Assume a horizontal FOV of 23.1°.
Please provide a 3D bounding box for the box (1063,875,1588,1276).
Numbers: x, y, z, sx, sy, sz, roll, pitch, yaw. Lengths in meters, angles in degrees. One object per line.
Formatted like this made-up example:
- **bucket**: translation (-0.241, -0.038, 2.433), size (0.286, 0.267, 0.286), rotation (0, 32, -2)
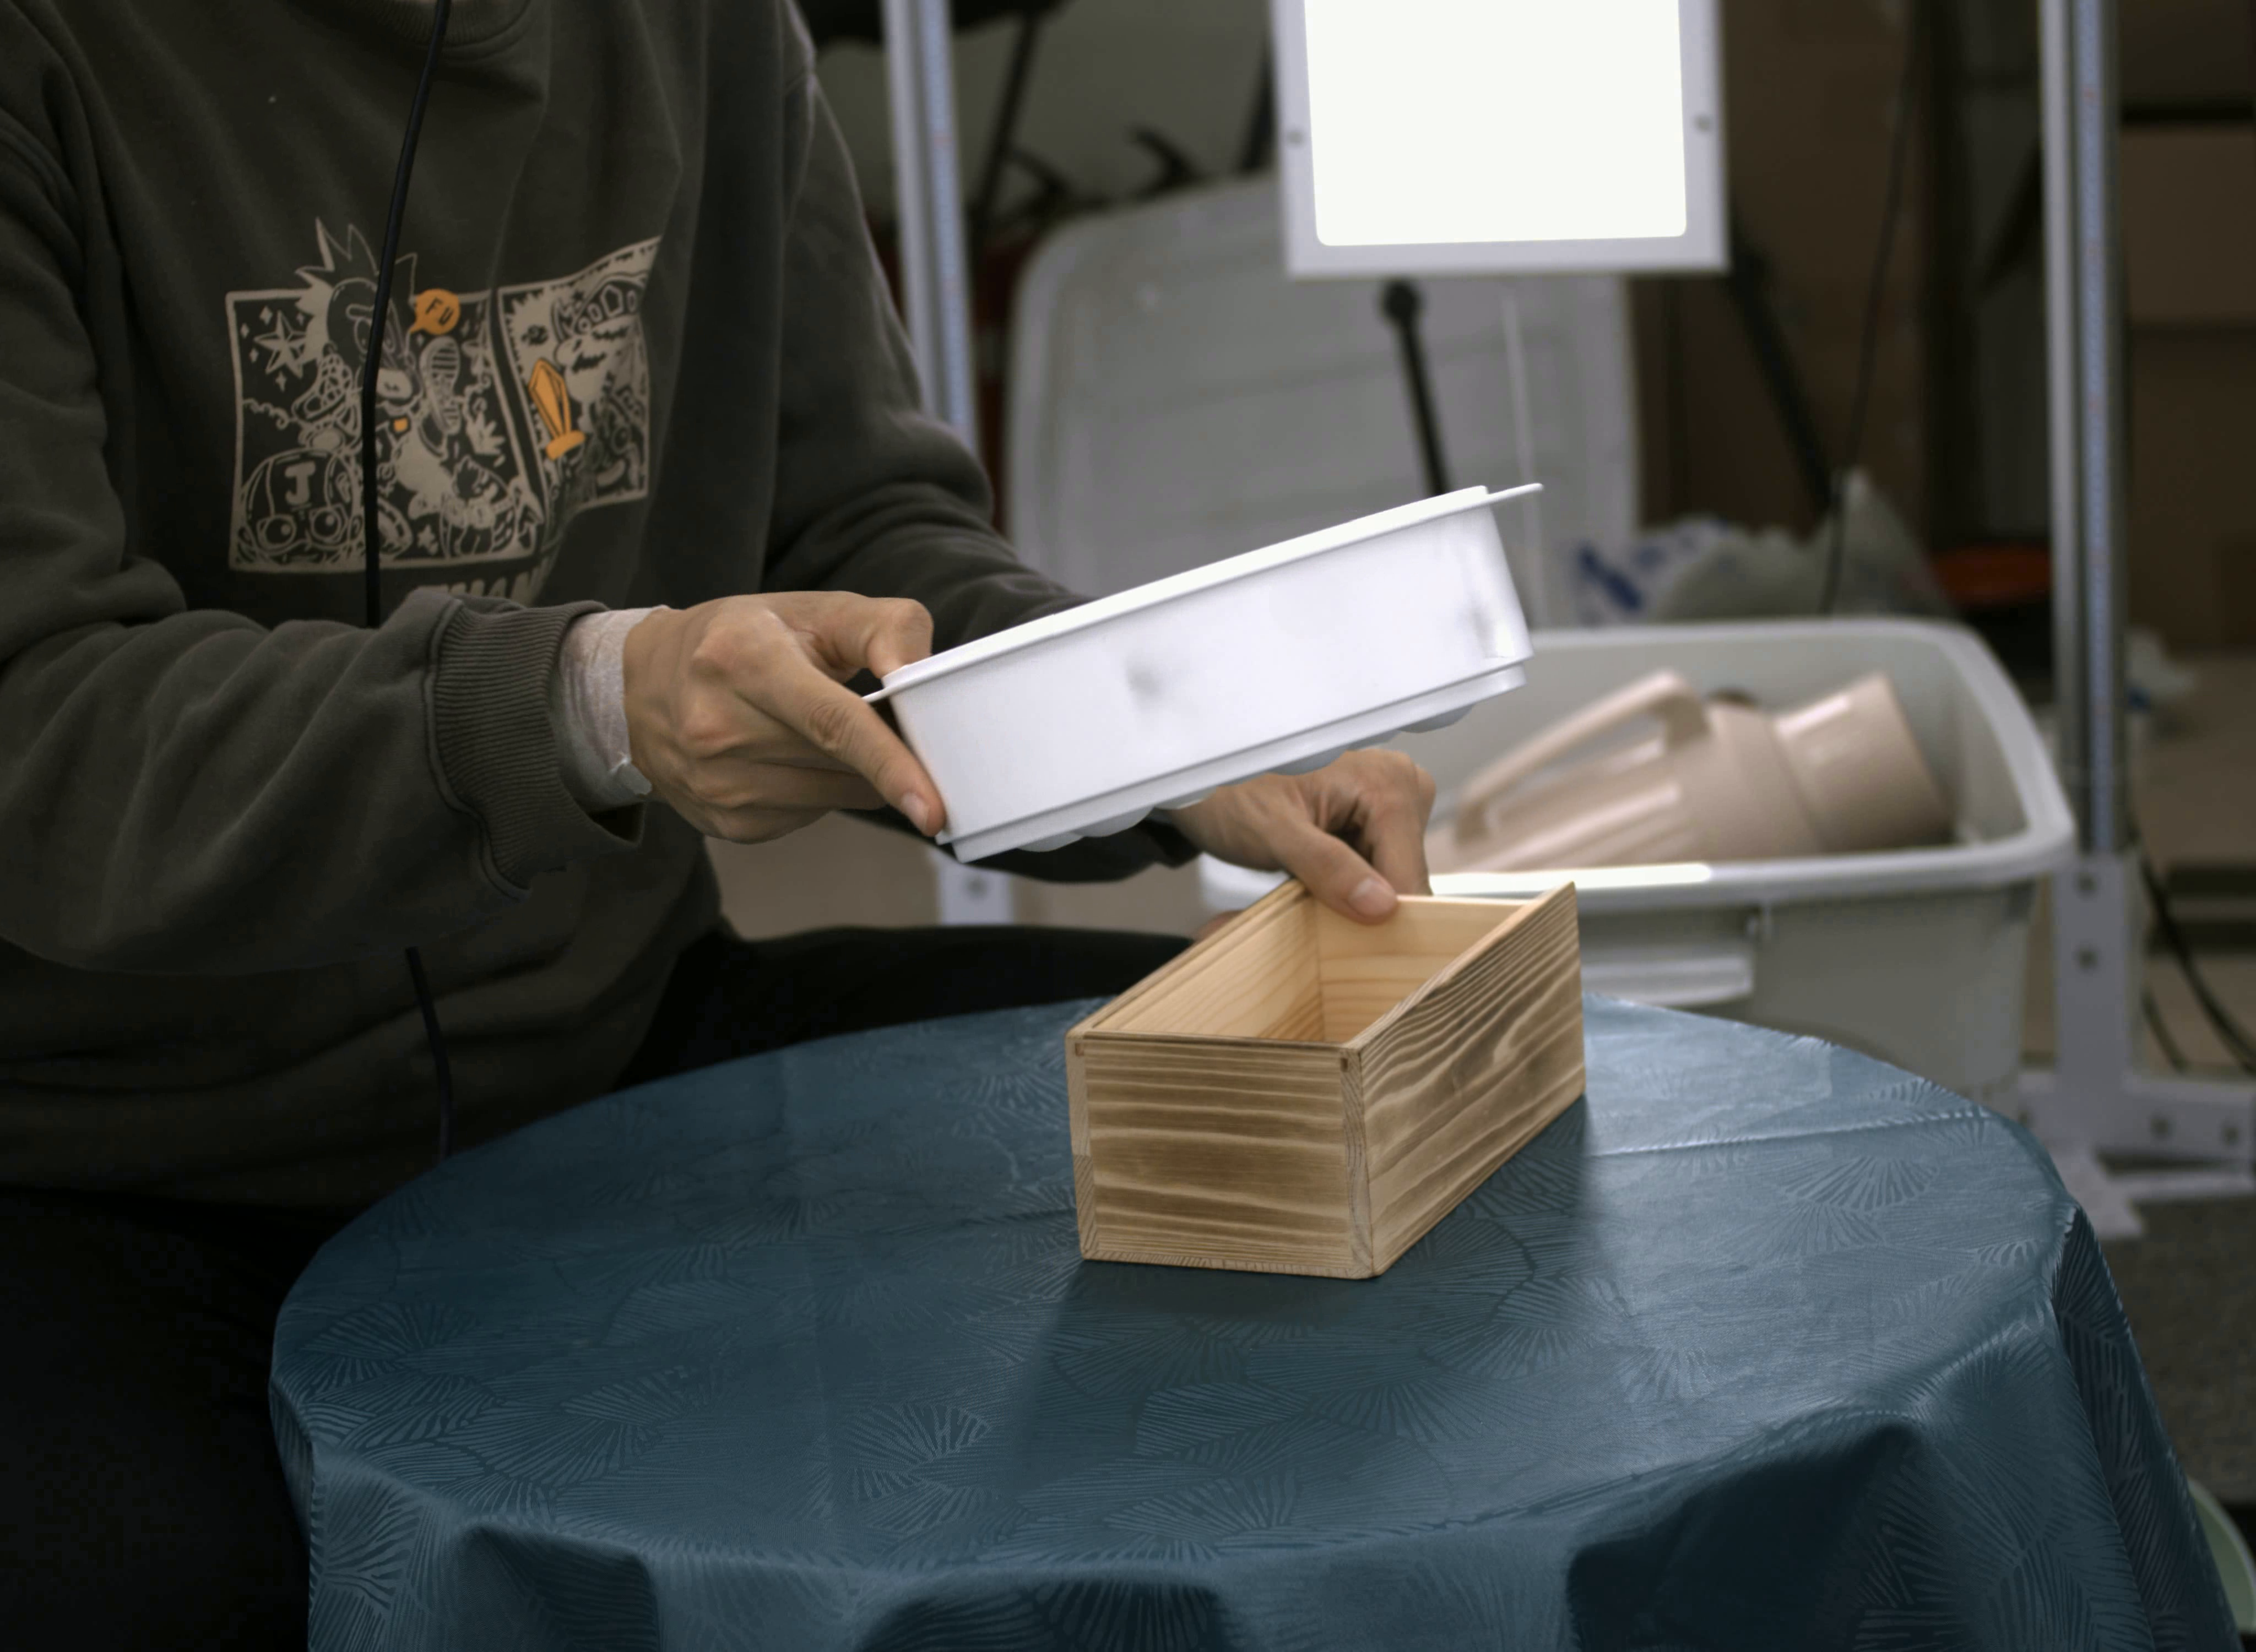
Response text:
- **box**: translation (0.072, 0.082, 1.885), size (0.109, 0.080, 0.207), rotation (1, 15, 25)

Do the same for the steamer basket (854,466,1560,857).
- **steamer basket**: translation (0.032, -0.047, 1.693), size (0.233, 0.069, 0.199), rotation (-18, -2, 14)
